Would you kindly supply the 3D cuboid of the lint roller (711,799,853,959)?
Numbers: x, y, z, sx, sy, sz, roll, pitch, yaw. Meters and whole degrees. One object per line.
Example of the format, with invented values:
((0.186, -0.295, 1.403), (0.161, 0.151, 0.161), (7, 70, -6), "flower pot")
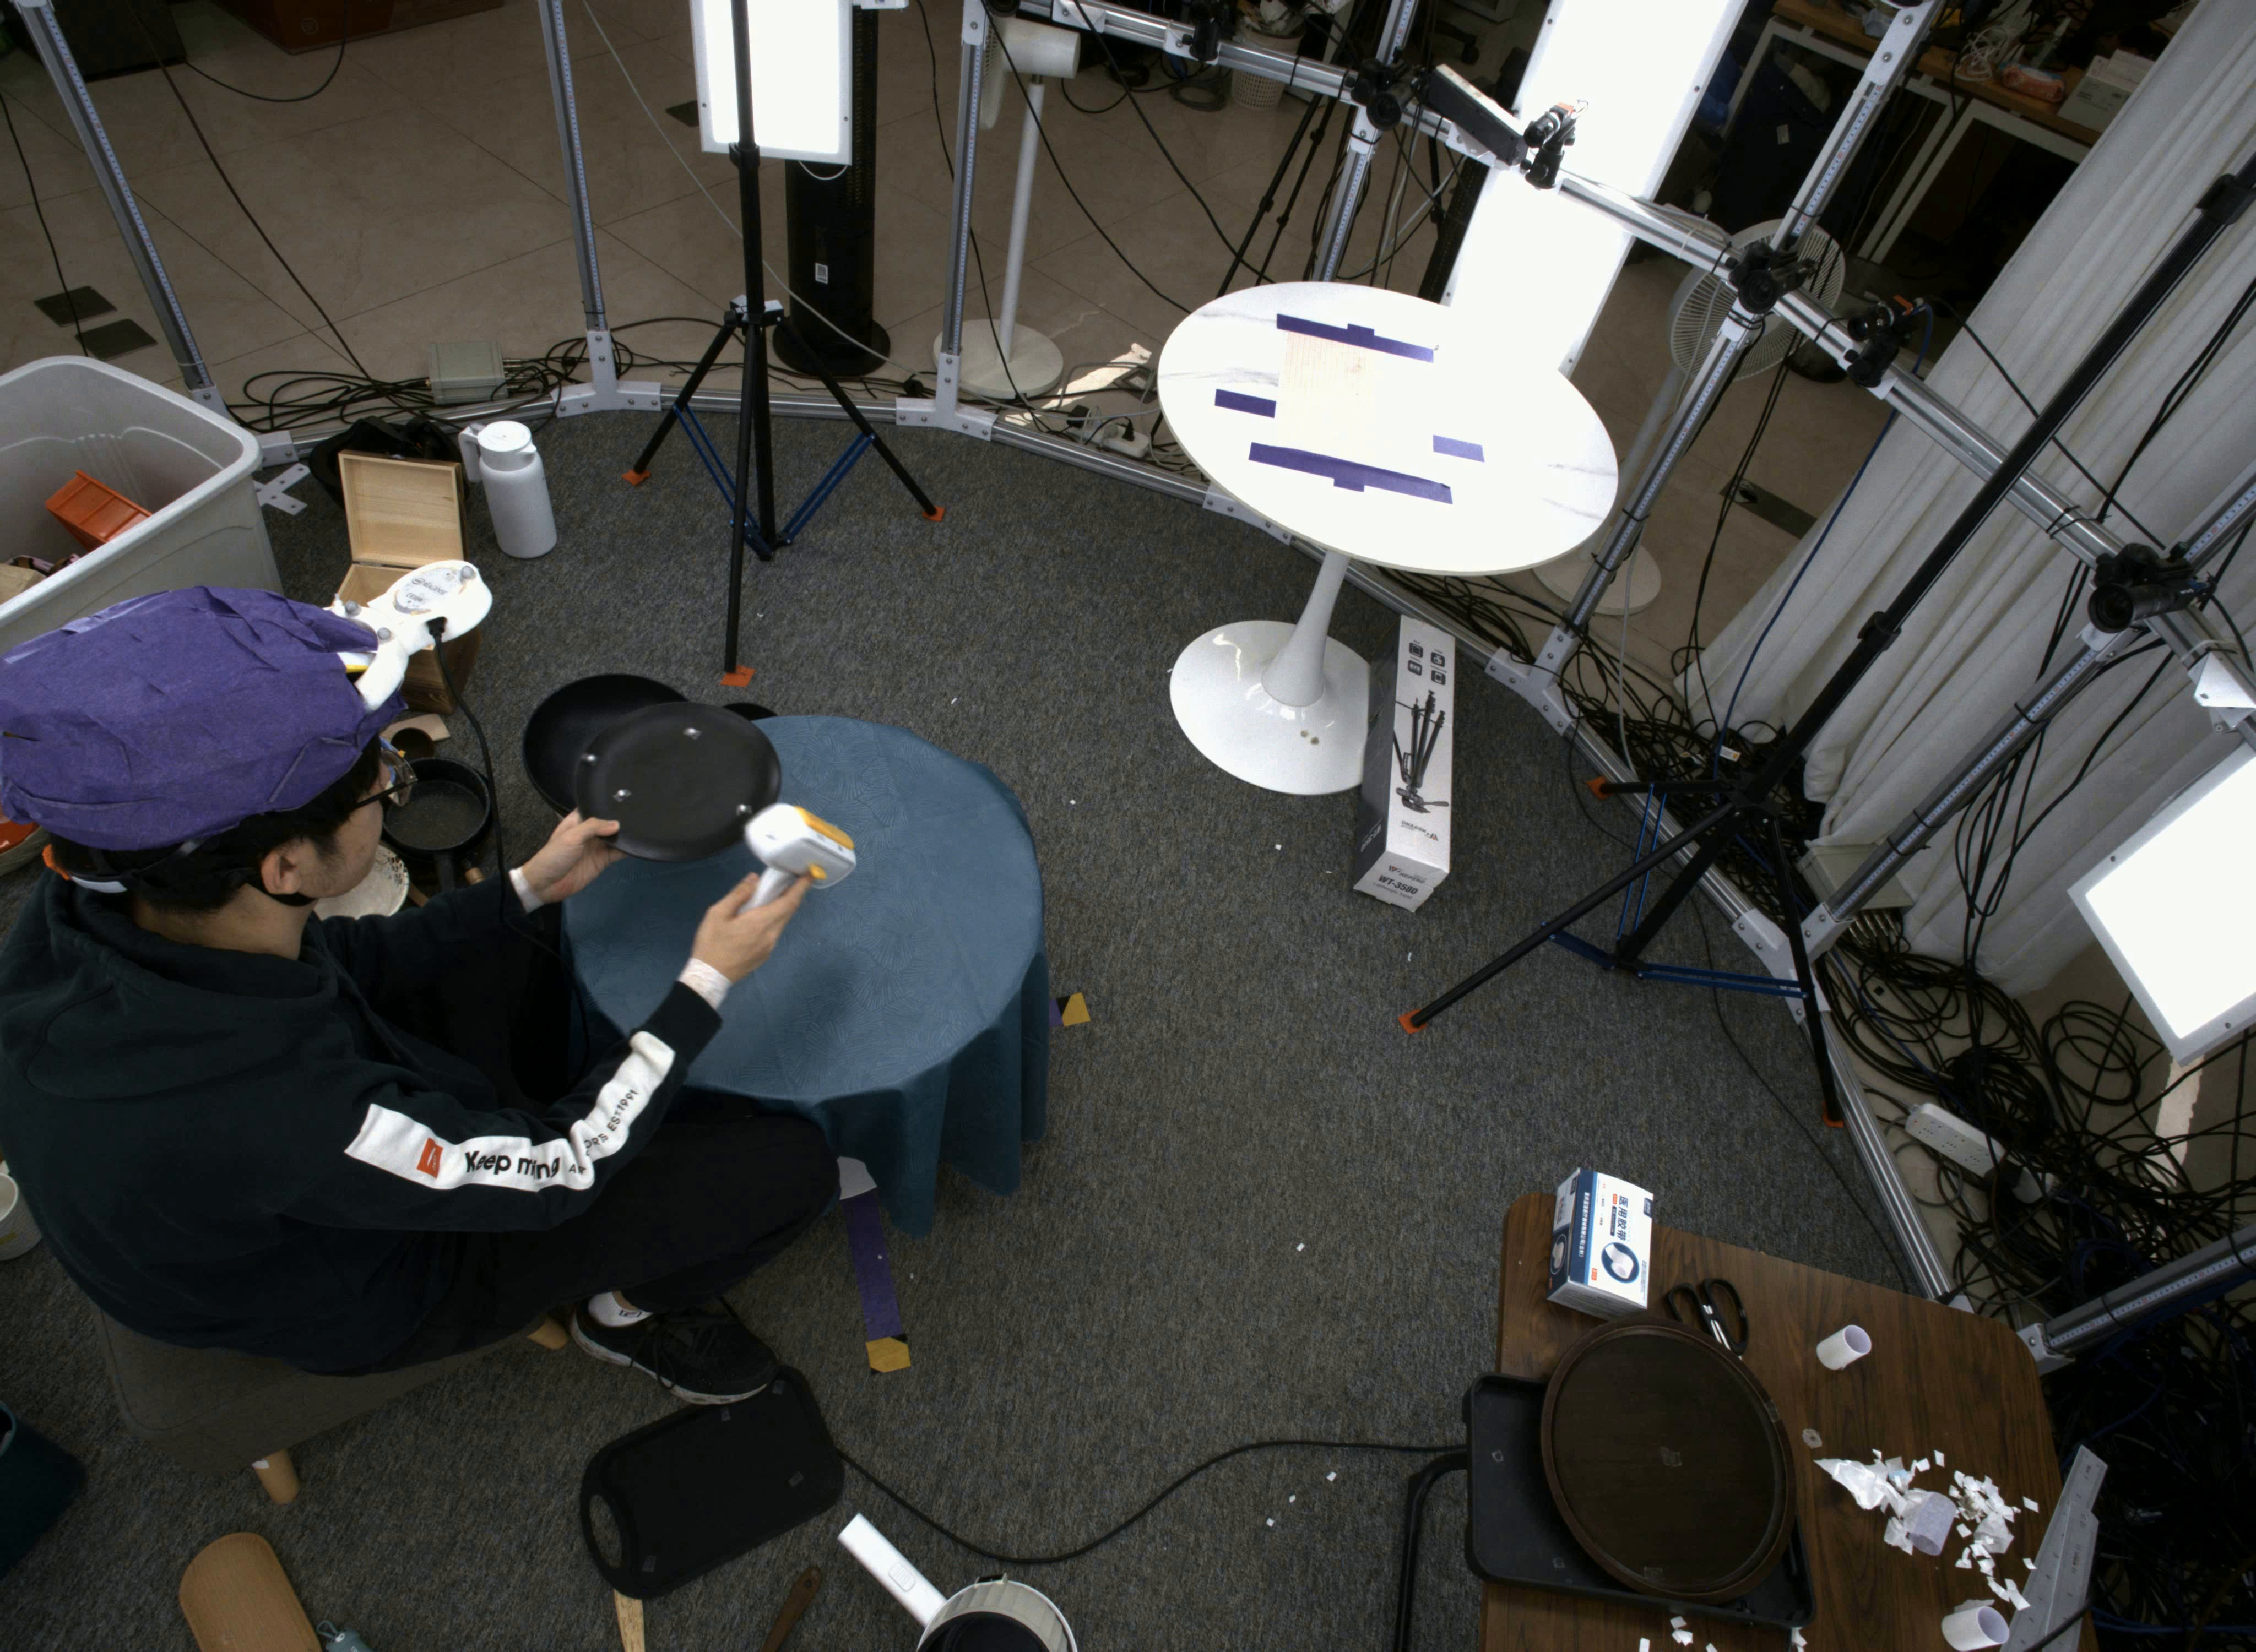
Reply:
((-0.413, 0.063, 1.466), (0.192, 0.196, 0.073), (-44, 76, 4), "lint roller")

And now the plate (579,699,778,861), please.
((-0.546, -0.056, 1.558), (0.244, 0.024, 0.240), (8, 55, -9), "plate")
